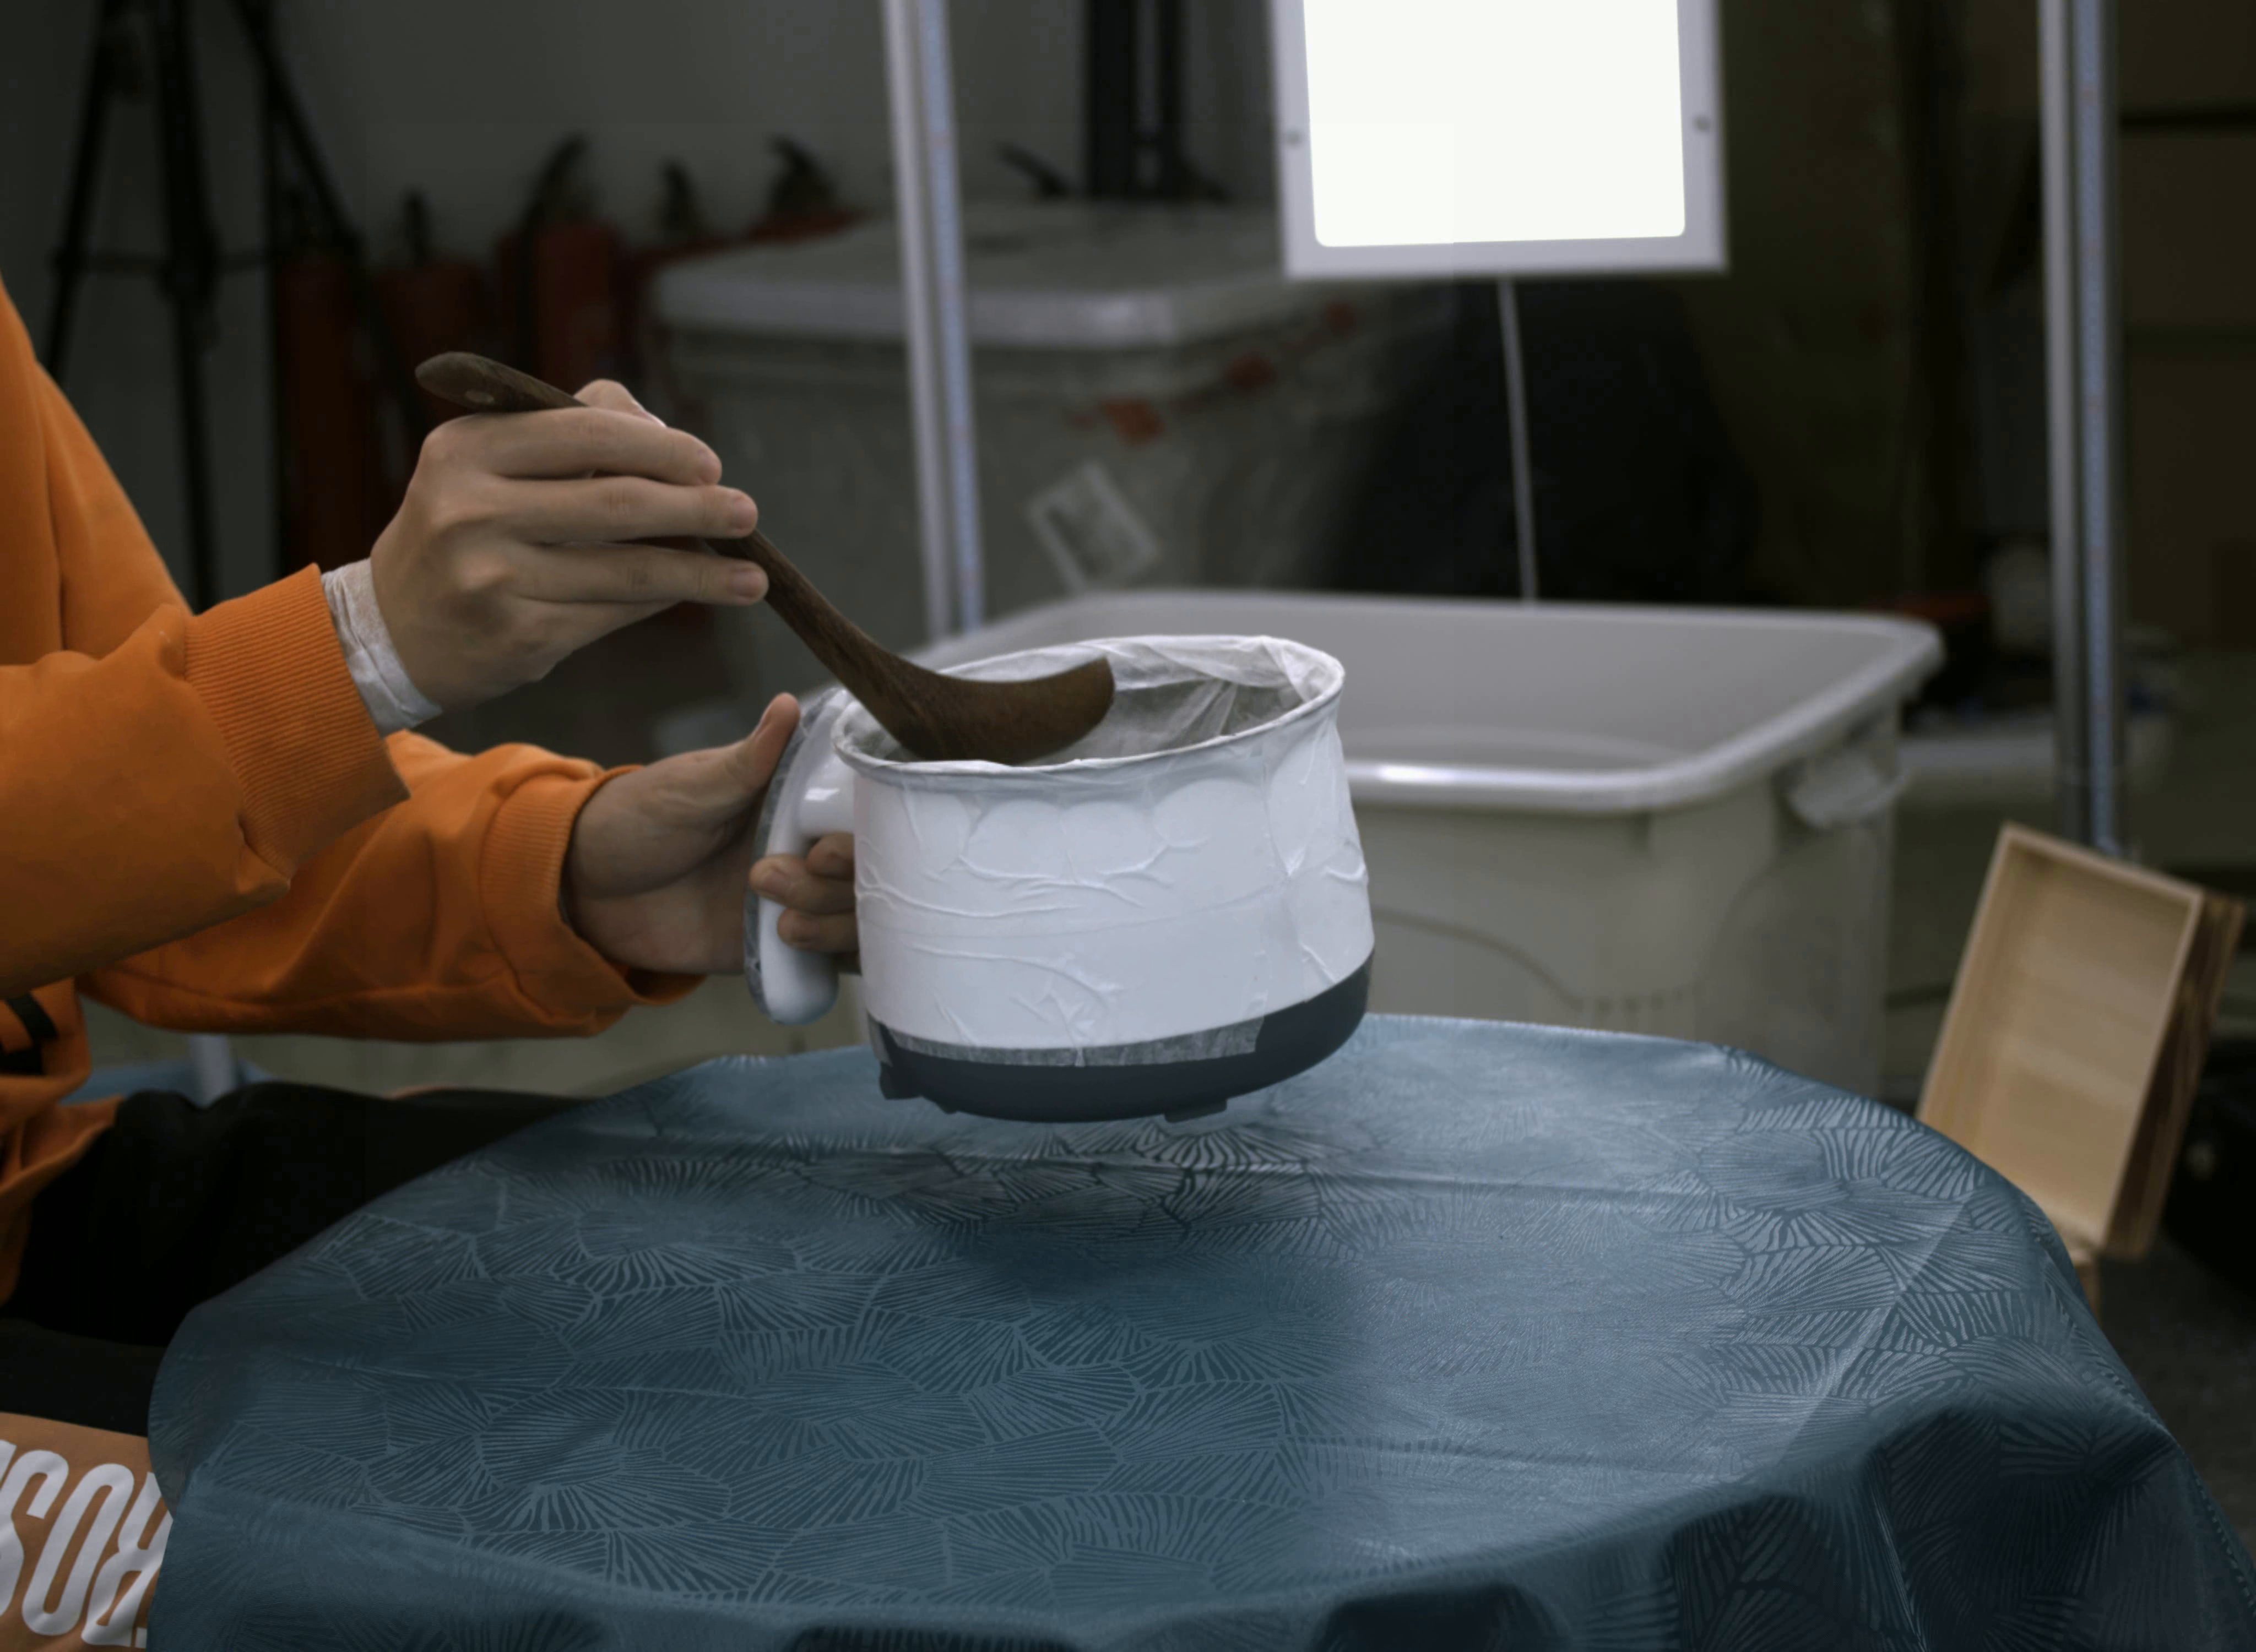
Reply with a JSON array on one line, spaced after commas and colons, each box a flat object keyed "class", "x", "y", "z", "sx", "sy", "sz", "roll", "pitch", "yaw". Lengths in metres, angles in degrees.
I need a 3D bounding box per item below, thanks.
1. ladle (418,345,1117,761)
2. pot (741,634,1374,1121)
[{"class": "ladle", "x": -0.117, "y": -0.101, "z": 1.854, "sx": 0.078, "sy": 0.270, "sz": 0.070, "roll": -25, "pitch": 35, "yaw": 47}, {"class": "pot", "x": -0.031, "y": 0.017, "z": 1.895, "sx": 0.238, "sy": 0.137, "sz": 0.175, "roll": 0, "pitch": 16, "yaw": 26}]
